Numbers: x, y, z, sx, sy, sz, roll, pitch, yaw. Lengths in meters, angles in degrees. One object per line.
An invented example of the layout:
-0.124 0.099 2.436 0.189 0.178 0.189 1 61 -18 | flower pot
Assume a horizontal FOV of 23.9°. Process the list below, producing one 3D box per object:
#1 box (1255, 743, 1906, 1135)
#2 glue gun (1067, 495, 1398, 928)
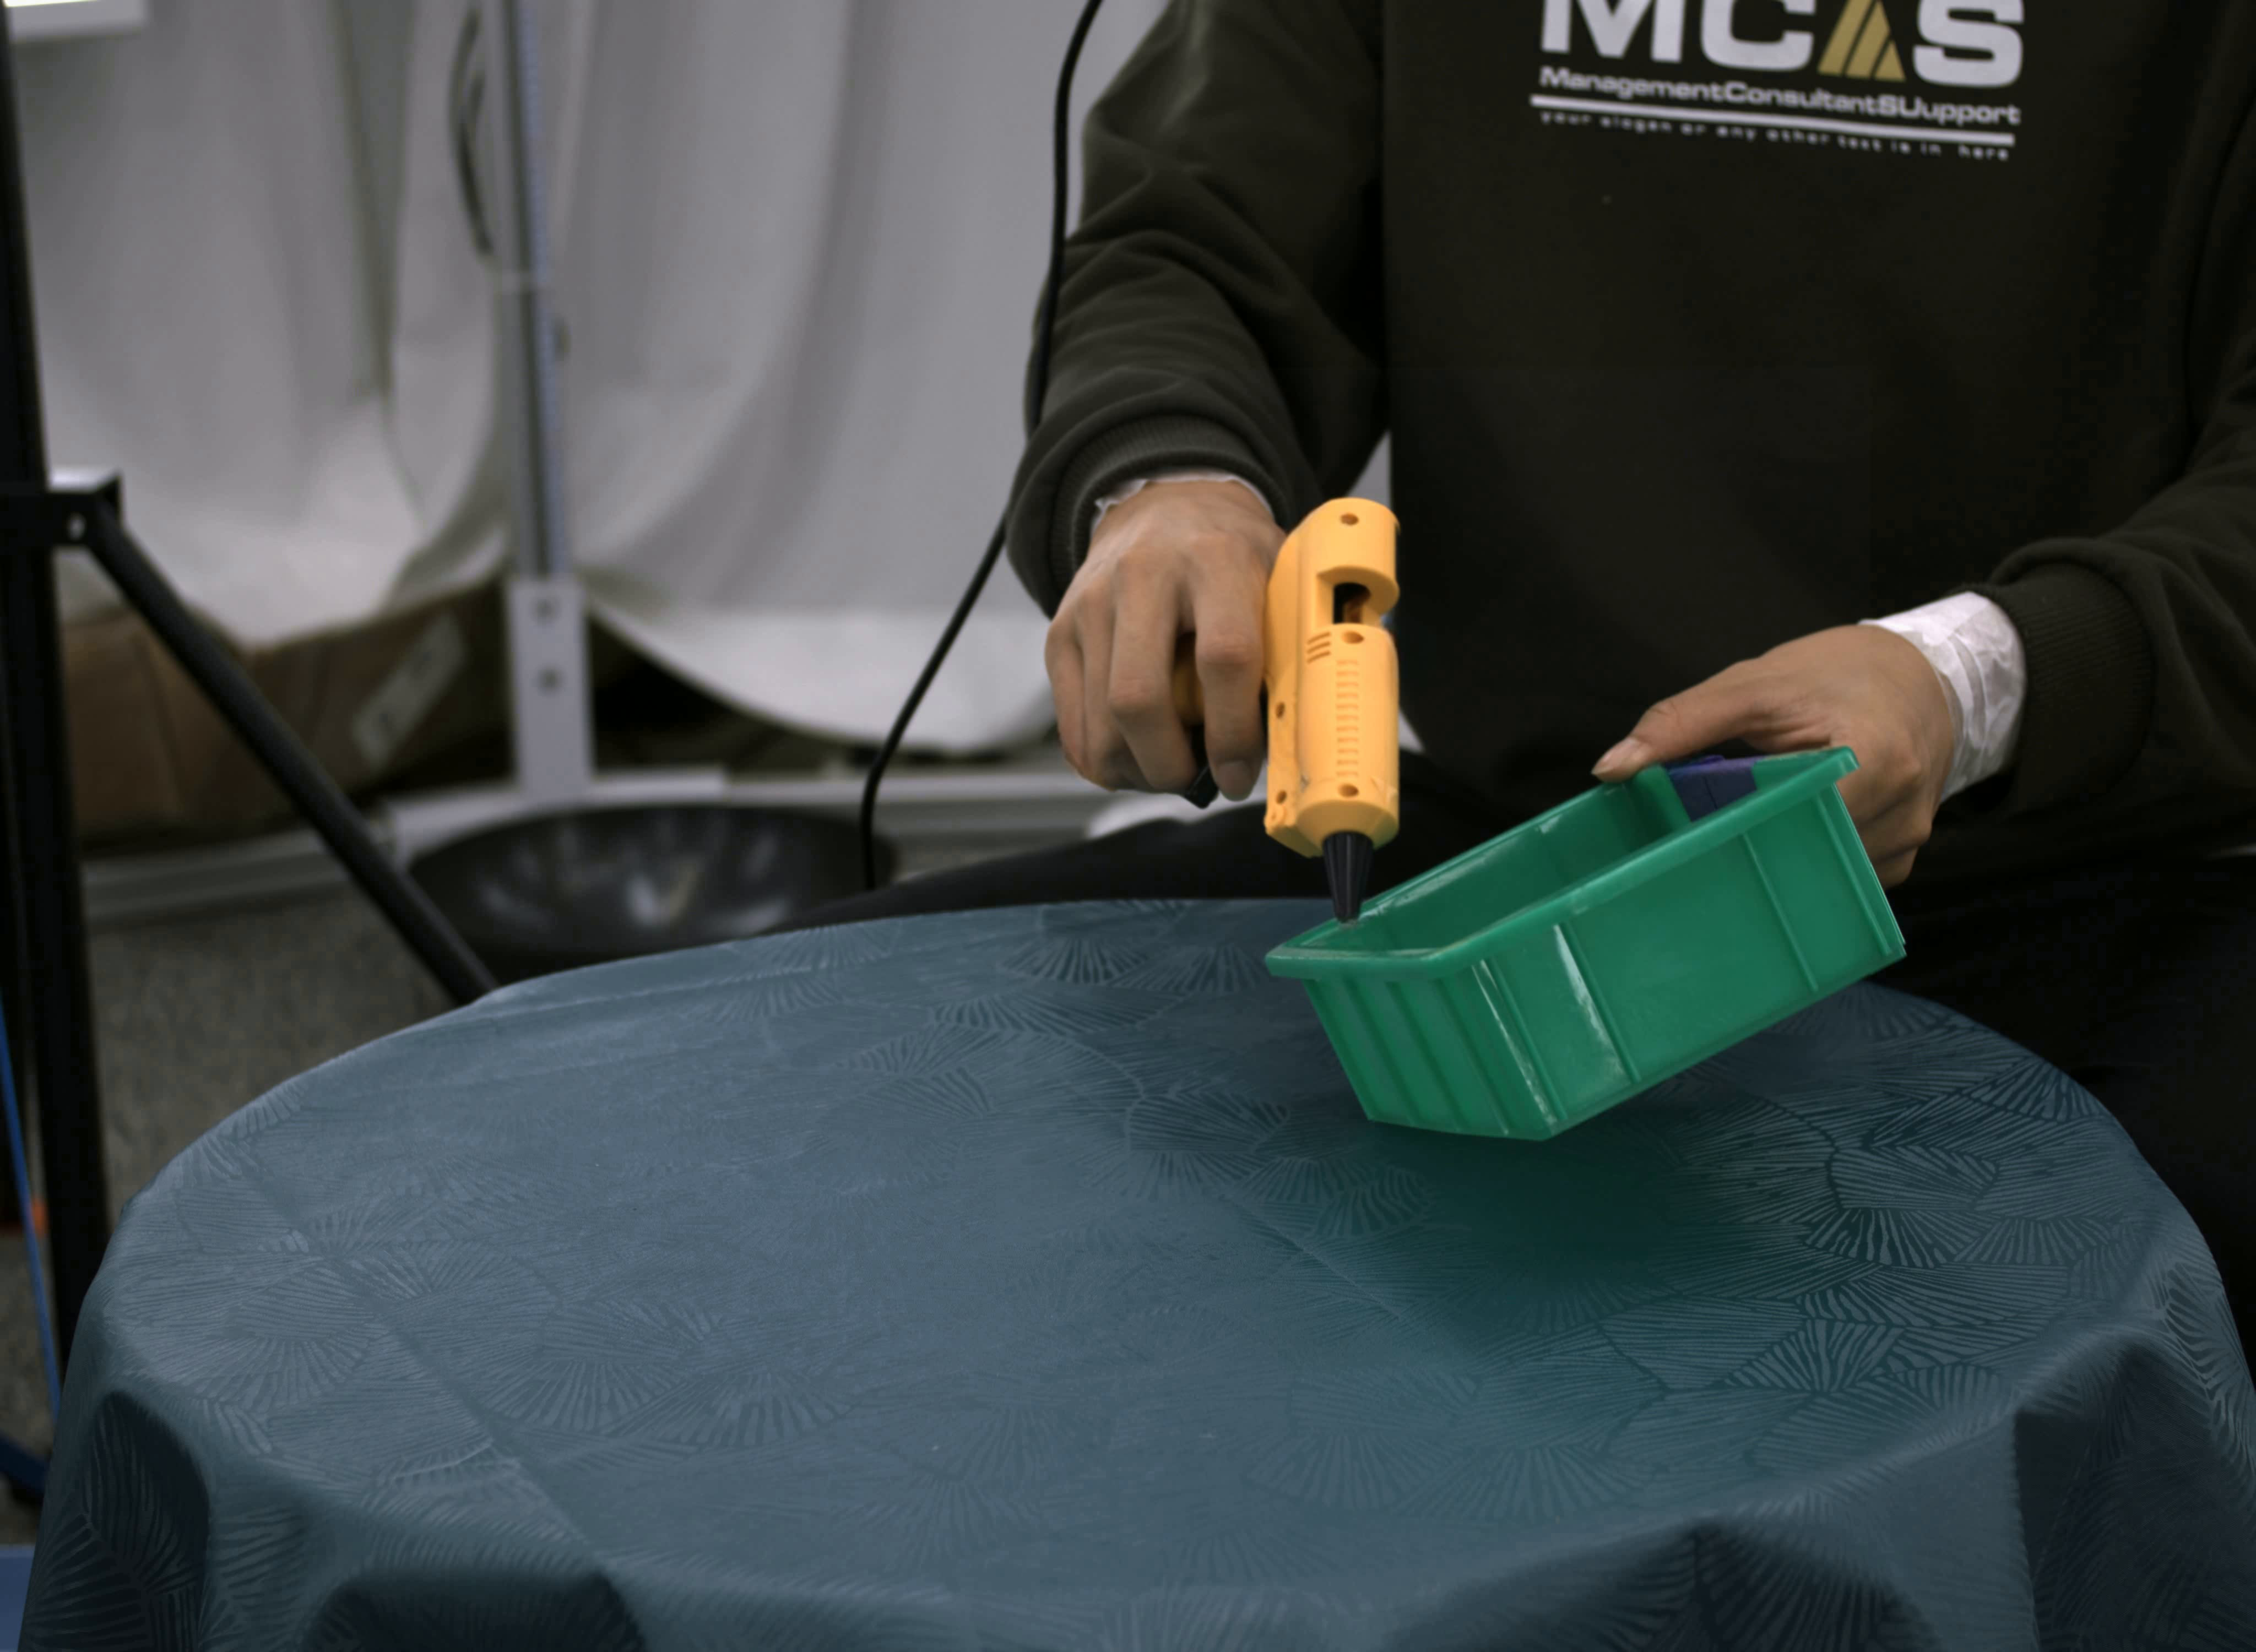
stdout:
0.131 0.037 1.533 0.137 0.065 0.212 -24 2 -13 | box
0.034 -0.013 1.618 0.030 0.153 0.135 31 -48 -34 | glue gun
